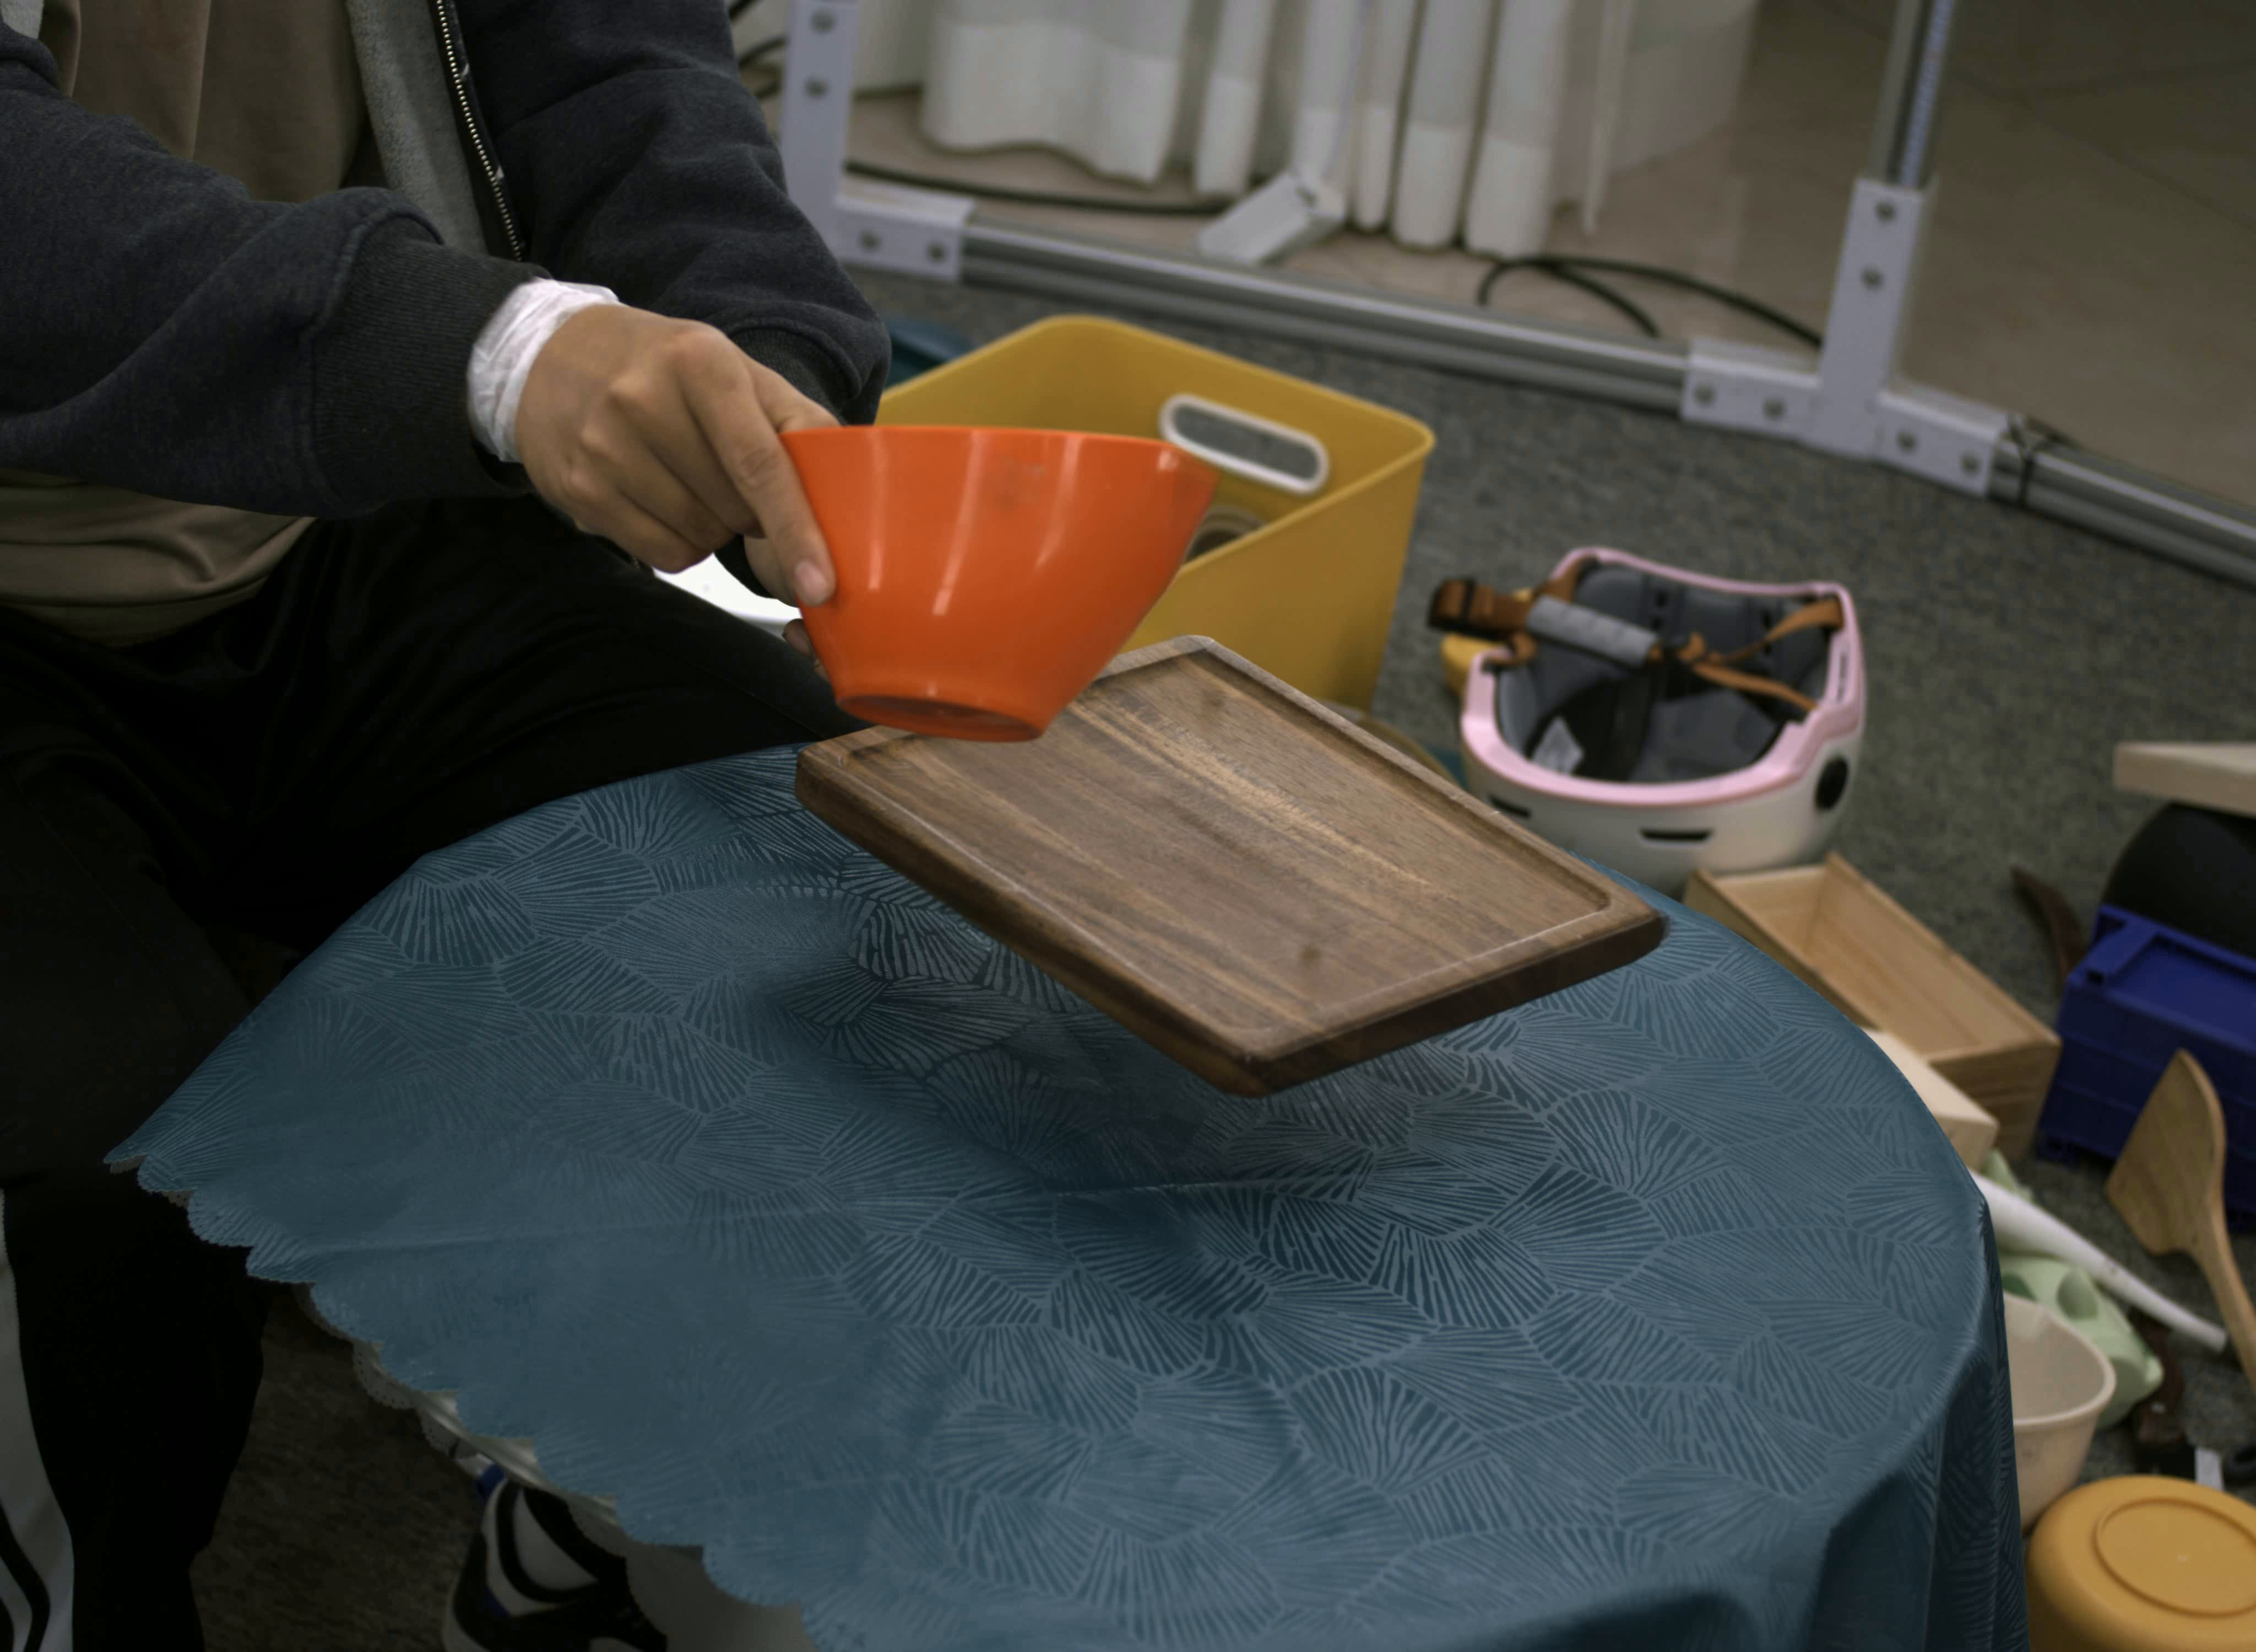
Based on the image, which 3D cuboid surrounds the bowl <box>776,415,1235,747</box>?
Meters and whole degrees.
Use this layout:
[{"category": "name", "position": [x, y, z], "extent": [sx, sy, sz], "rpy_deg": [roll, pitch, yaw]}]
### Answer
[{"category": "bowl", "position": [-0.045, -0.081, 1.703], "extent": [0.147, 0.105, 0.147], "rpy_deg": [9, -10, 1]}]

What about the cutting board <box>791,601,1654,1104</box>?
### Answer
[{"category": "cutting board", "position": [0.000, -0.011, 1.903], "extent": [0.200, 0.023, 0.355], "rpy_deg": [-18, 36, -37]}]
